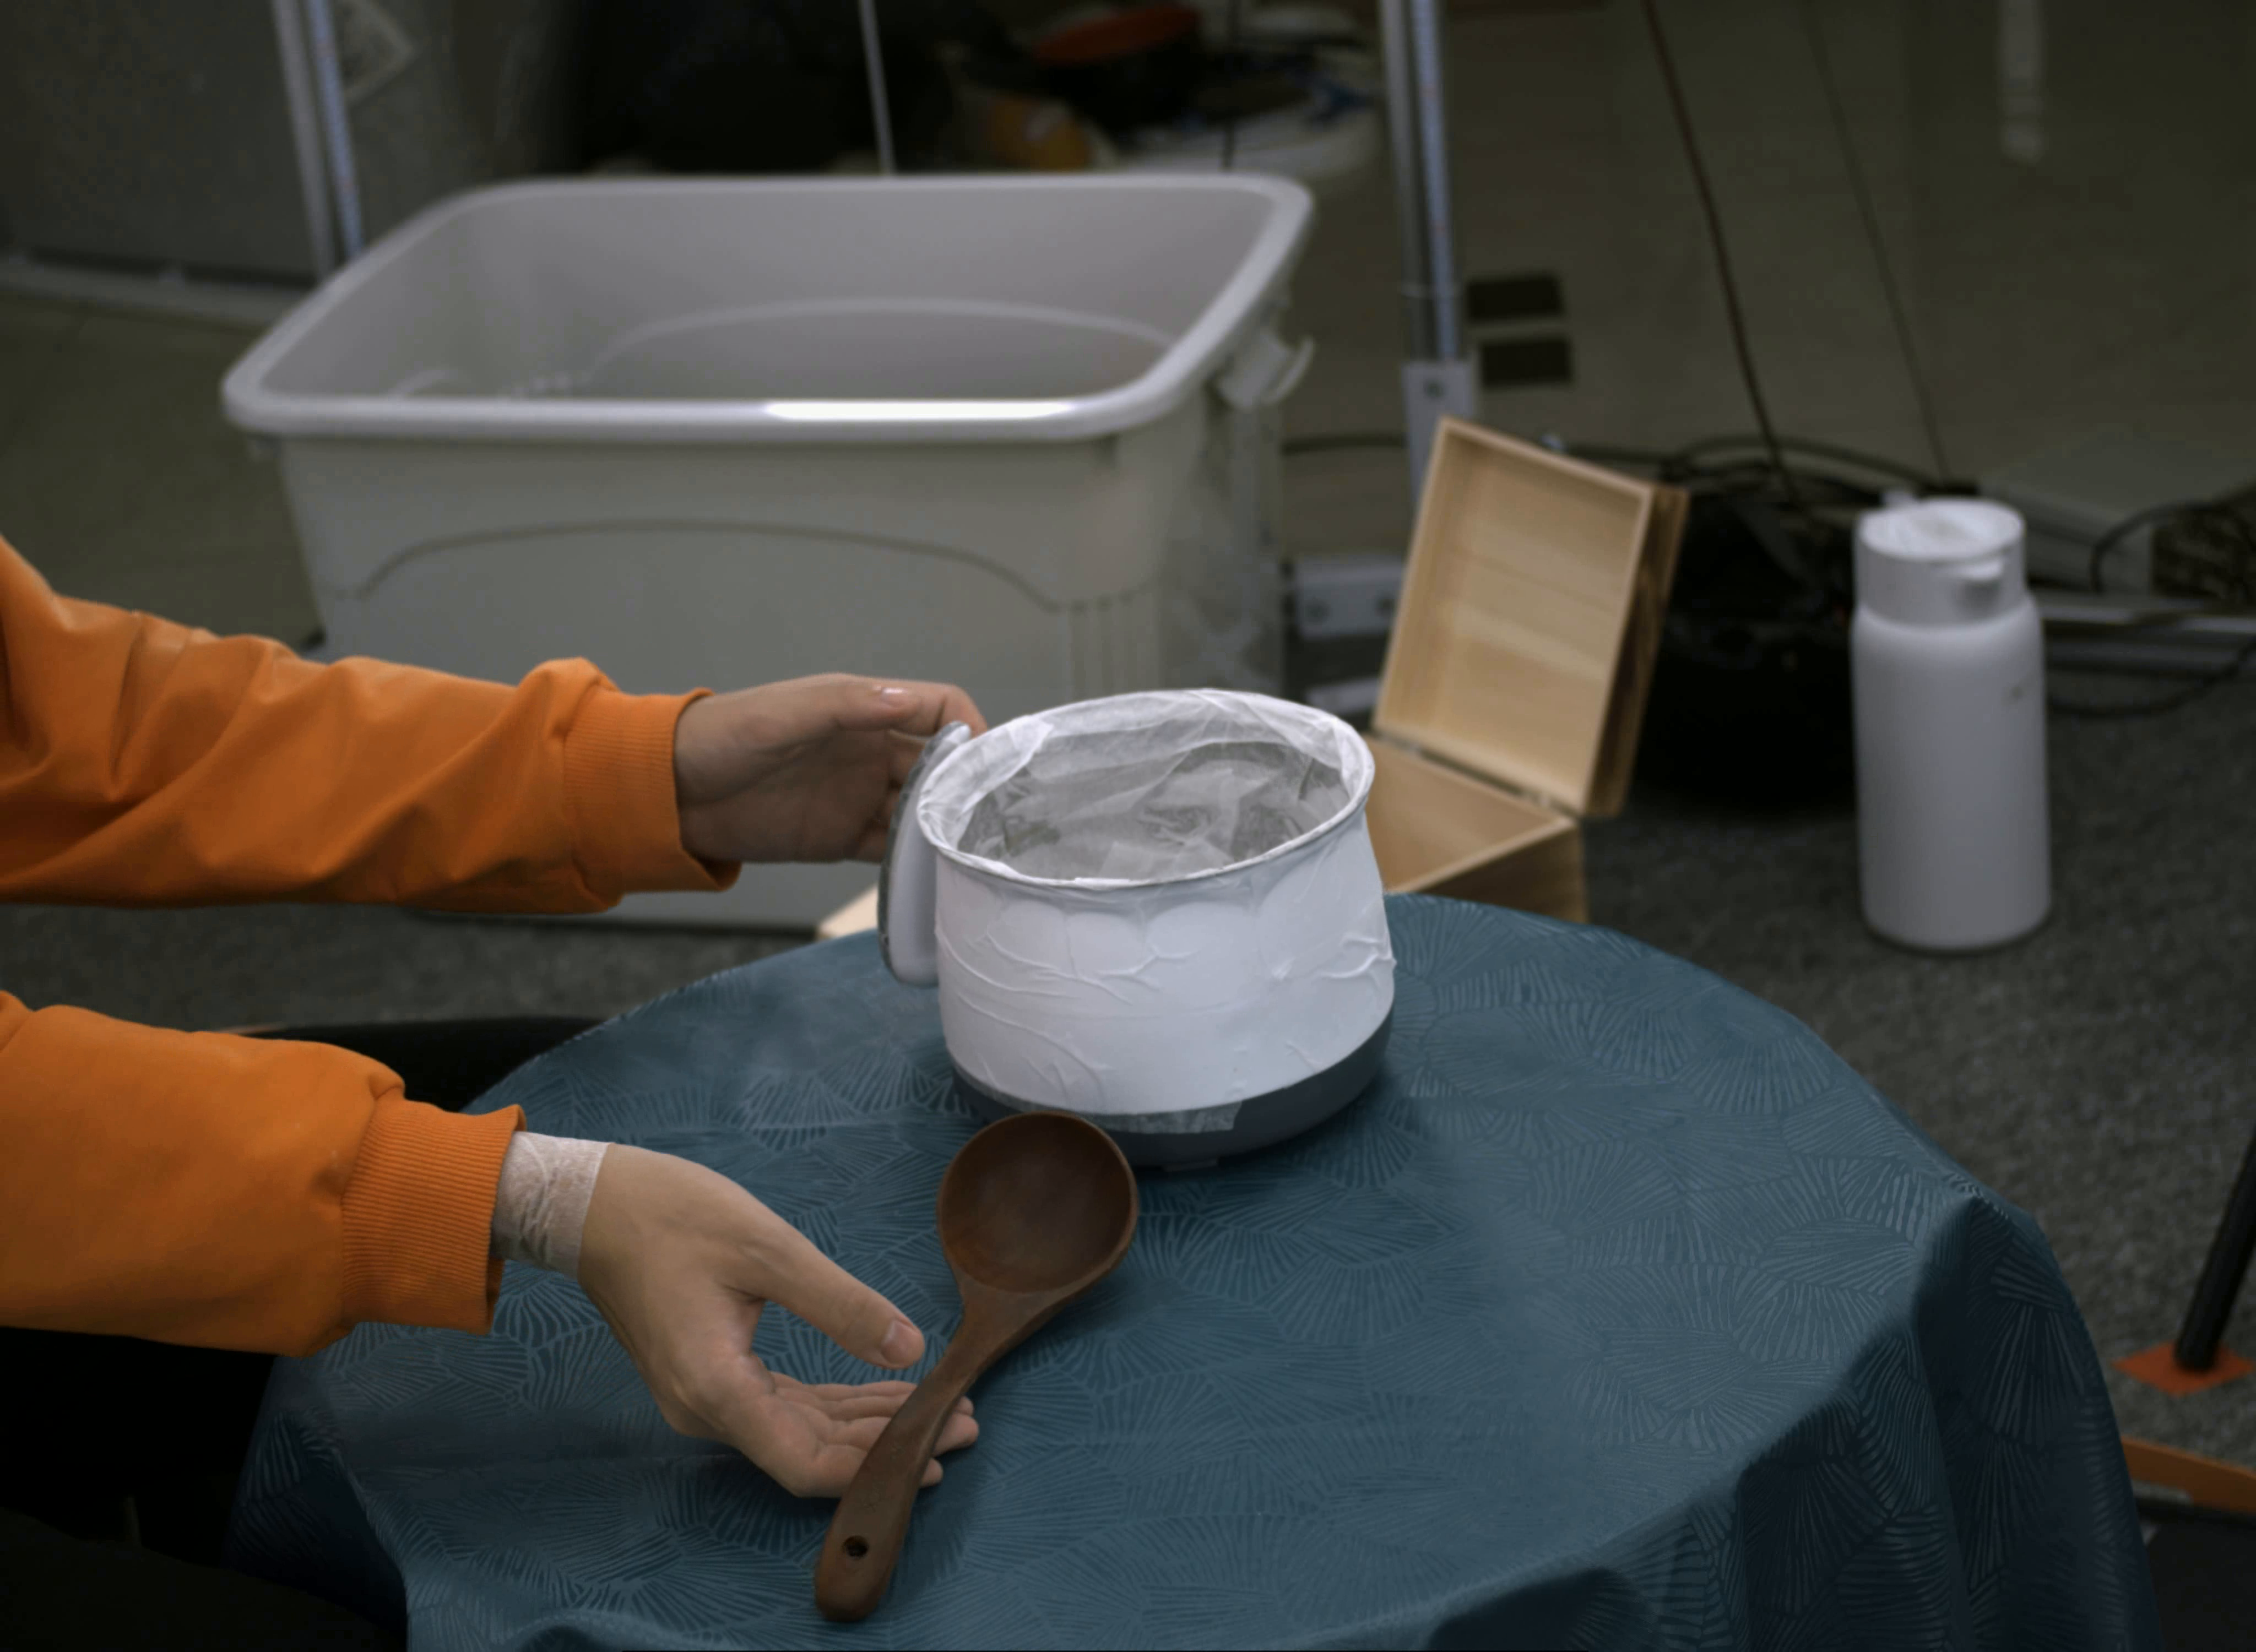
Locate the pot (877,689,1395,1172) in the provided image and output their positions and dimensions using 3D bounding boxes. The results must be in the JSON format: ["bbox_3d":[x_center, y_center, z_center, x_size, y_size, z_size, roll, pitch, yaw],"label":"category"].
[{"bbox_3d":[-0.009,0.035,2.205,0.232,0.139,0.177,15,32,37],"label":"pot"}]

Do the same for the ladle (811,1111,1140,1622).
[{"bbox_3d":[-0.062,0.184,1.990,0.076,0.066,0.256,4,27,18],"label":"ladle"}]
